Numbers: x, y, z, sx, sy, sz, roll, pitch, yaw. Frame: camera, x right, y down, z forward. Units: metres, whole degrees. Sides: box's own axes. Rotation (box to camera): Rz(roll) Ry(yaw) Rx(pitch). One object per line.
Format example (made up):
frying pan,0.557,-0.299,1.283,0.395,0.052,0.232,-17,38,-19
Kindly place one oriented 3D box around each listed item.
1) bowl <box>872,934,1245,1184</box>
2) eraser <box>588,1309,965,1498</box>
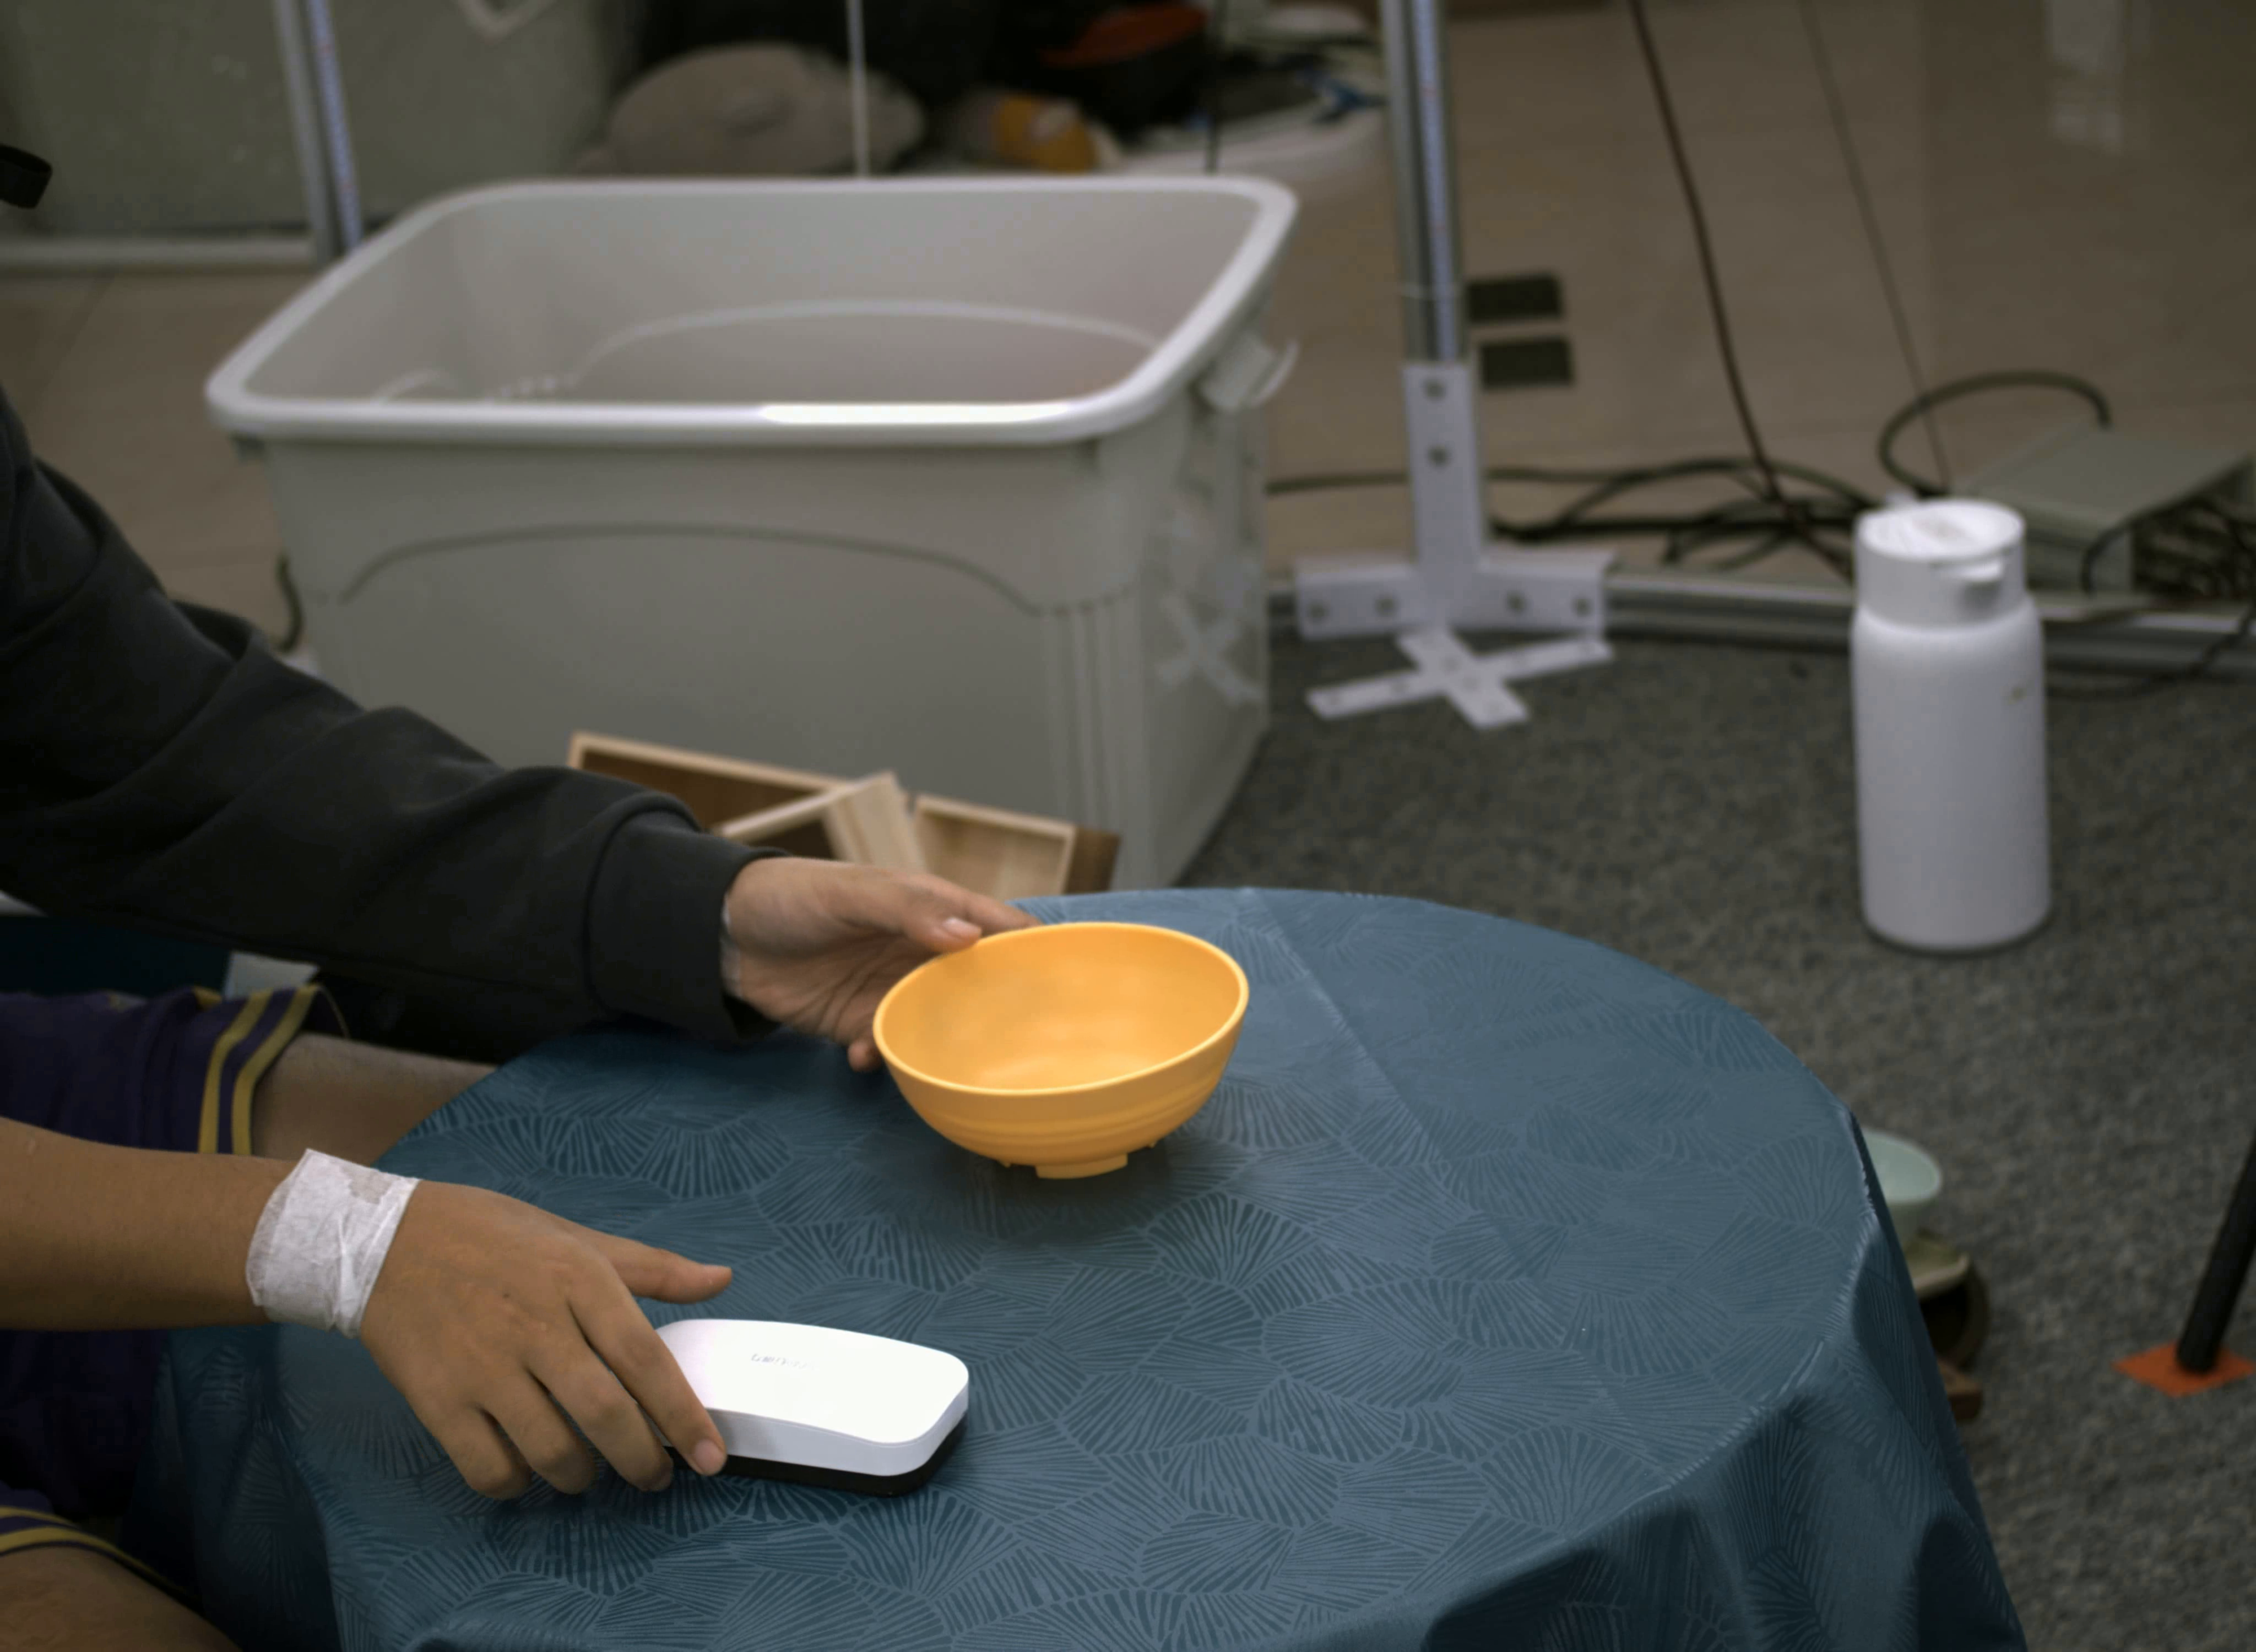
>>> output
bowl,-0.023,0.097,2.178,0.145,0.061,0.143,-7,23,3
eraser,-0.123,0.202,2.003,0.131,0.035,0.062,7,27,23
